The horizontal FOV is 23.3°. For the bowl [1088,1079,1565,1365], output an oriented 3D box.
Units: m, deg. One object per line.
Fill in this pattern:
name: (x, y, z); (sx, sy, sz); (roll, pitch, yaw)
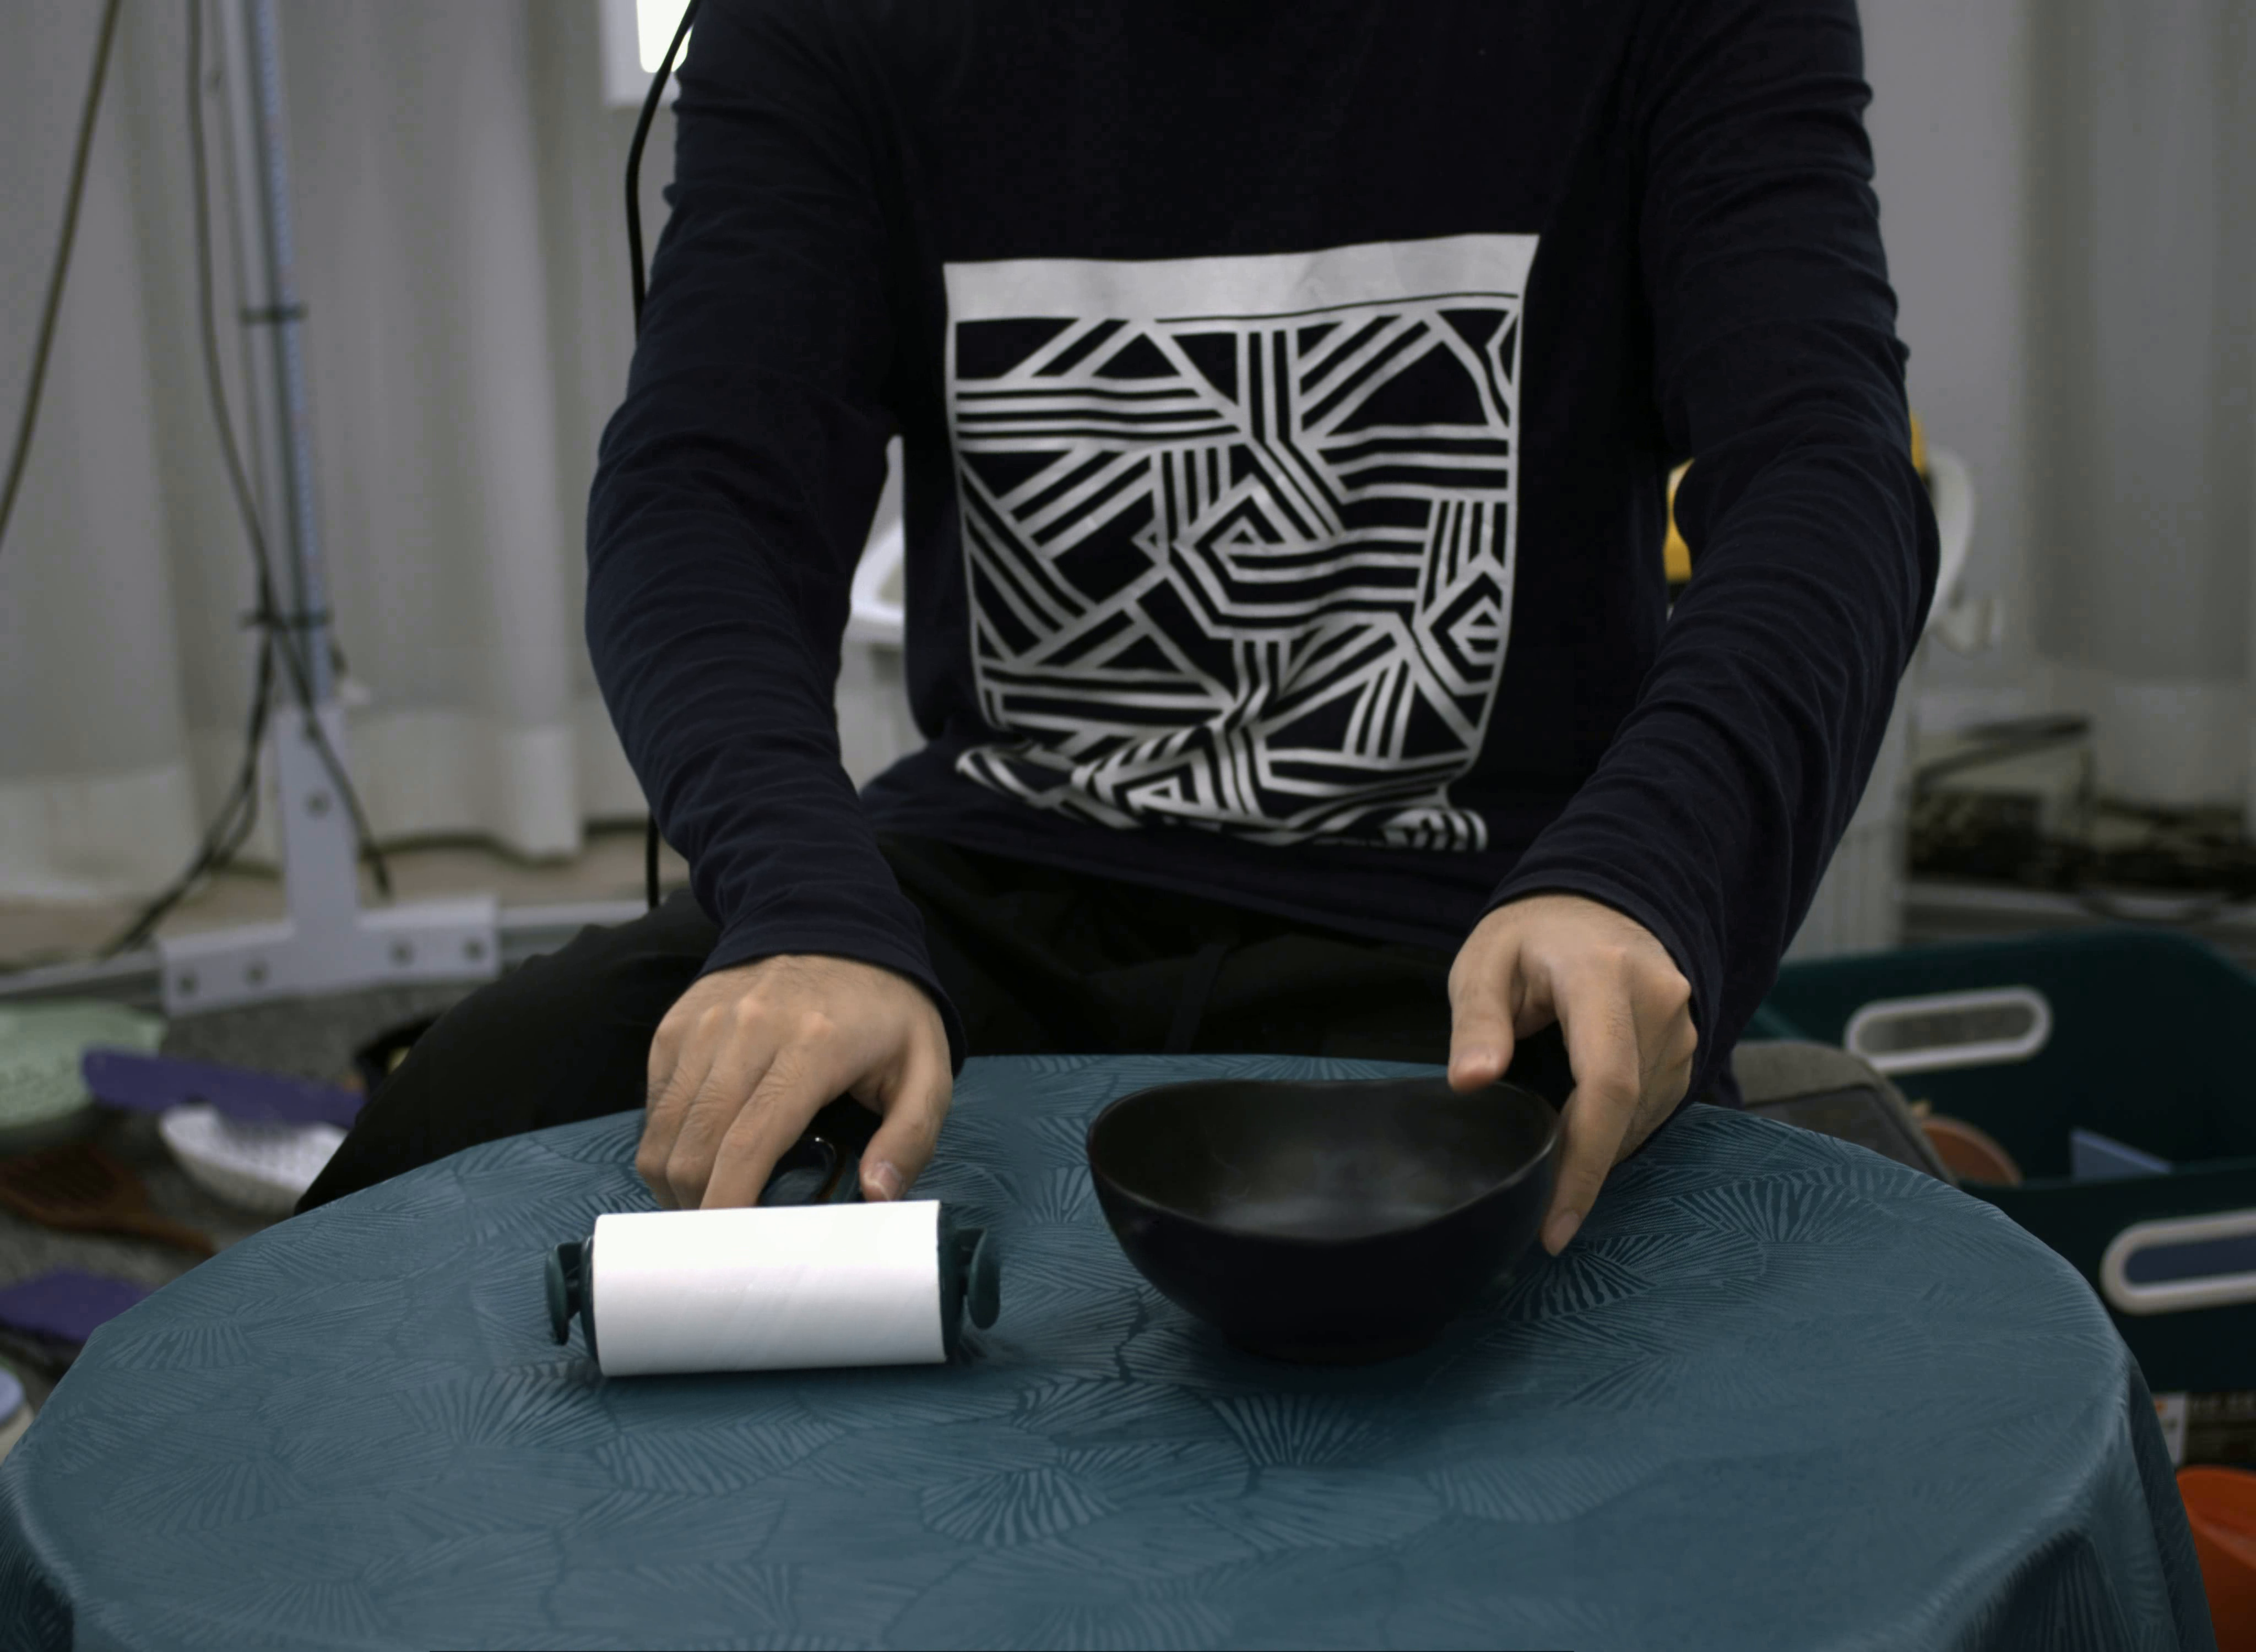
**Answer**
bowl: (0.058, 0.115, 1.580); (0.137, 0.066, 0.171); (-1, 13, 5)

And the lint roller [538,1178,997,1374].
lint roller: (-0.103, 0.116, 1.639); (0.134, 0.048, 0.181); (-3, 14, 1)
